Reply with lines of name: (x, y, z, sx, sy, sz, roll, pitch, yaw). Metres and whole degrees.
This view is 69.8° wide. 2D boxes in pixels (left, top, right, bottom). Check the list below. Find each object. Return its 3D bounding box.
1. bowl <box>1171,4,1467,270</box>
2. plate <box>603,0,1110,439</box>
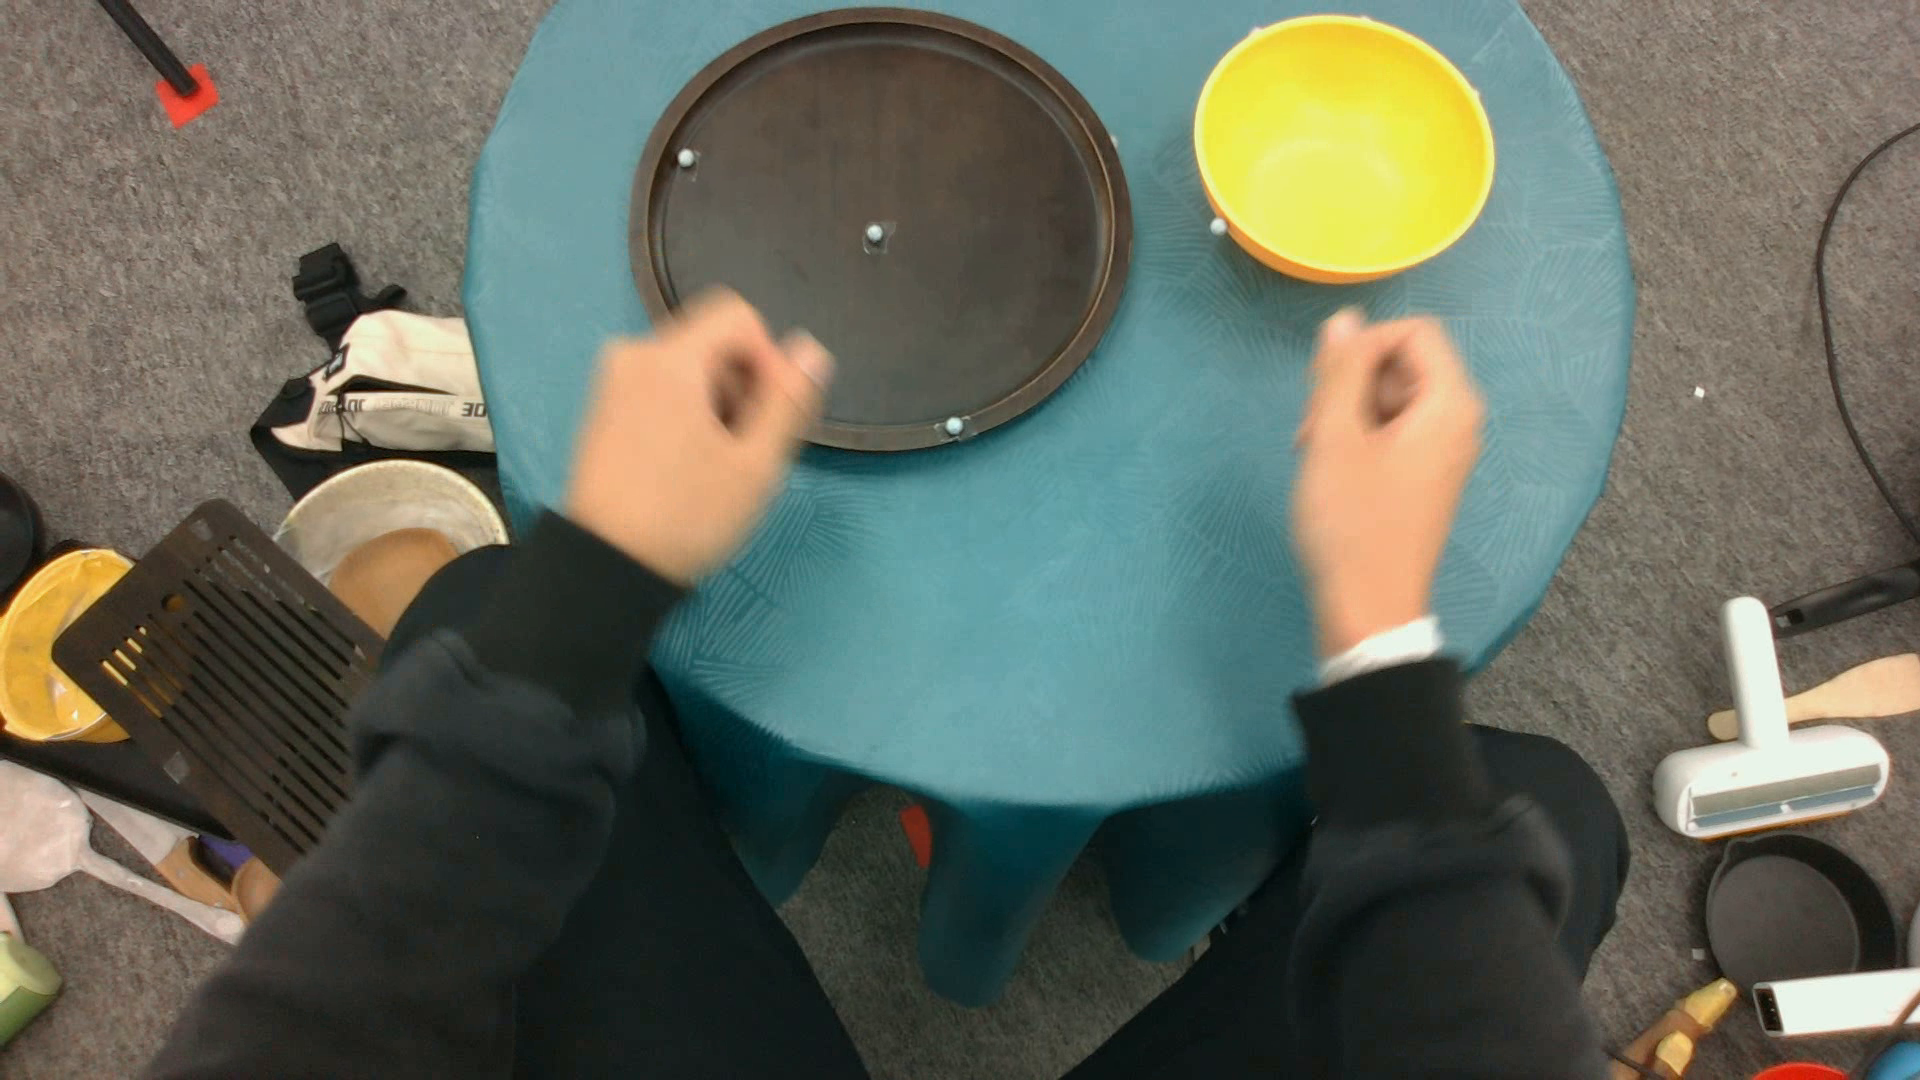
bowl: (0.175, -0.193, 0.700, 0.145, 0.060, 0.145, 0, 74, -1)
plate: (-0.051, -0.166, 0.696, 0.255, 0.029, 0.255, 1, 72, -4)
